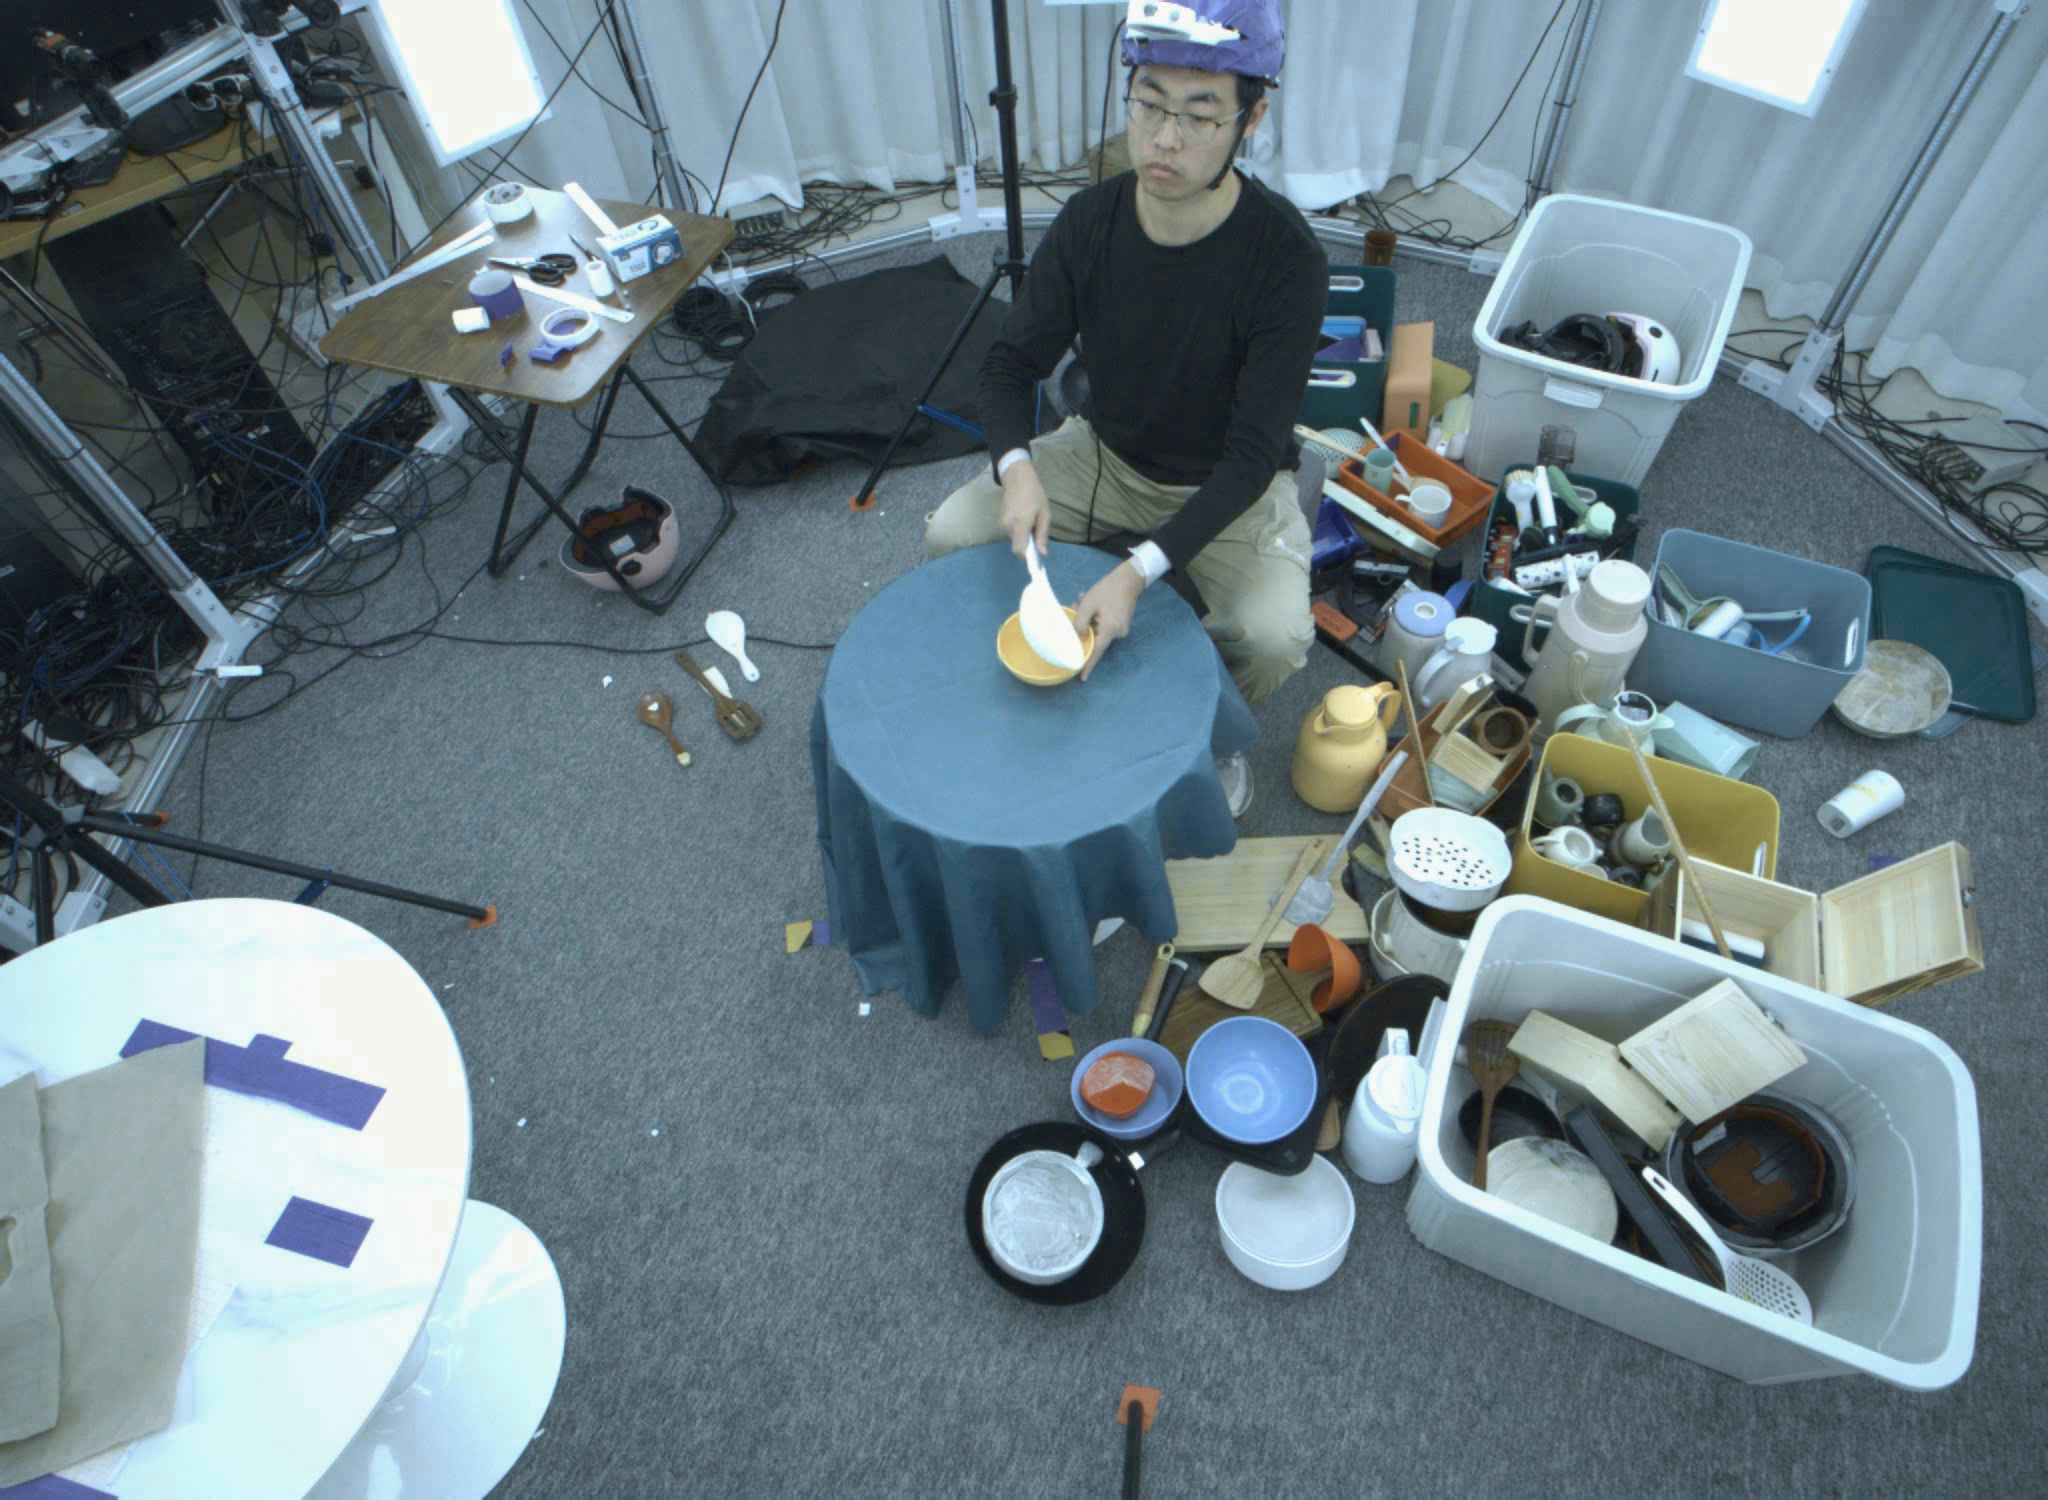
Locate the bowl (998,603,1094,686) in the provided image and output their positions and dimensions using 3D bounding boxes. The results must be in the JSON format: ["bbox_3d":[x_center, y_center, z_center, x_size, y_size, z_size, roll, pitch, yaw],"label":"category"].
[{"bbox_3d":[0.034,-0.148,1.856,0.145,0.061,0.144,0,58,1],"label":"bowl"}]

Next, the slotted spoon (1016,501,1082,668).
[{"bbox_3d":[0.020,-0.256,1.839,0.045,0.139,0.345,-28,49,28],"label":"slotted spoon"}]
